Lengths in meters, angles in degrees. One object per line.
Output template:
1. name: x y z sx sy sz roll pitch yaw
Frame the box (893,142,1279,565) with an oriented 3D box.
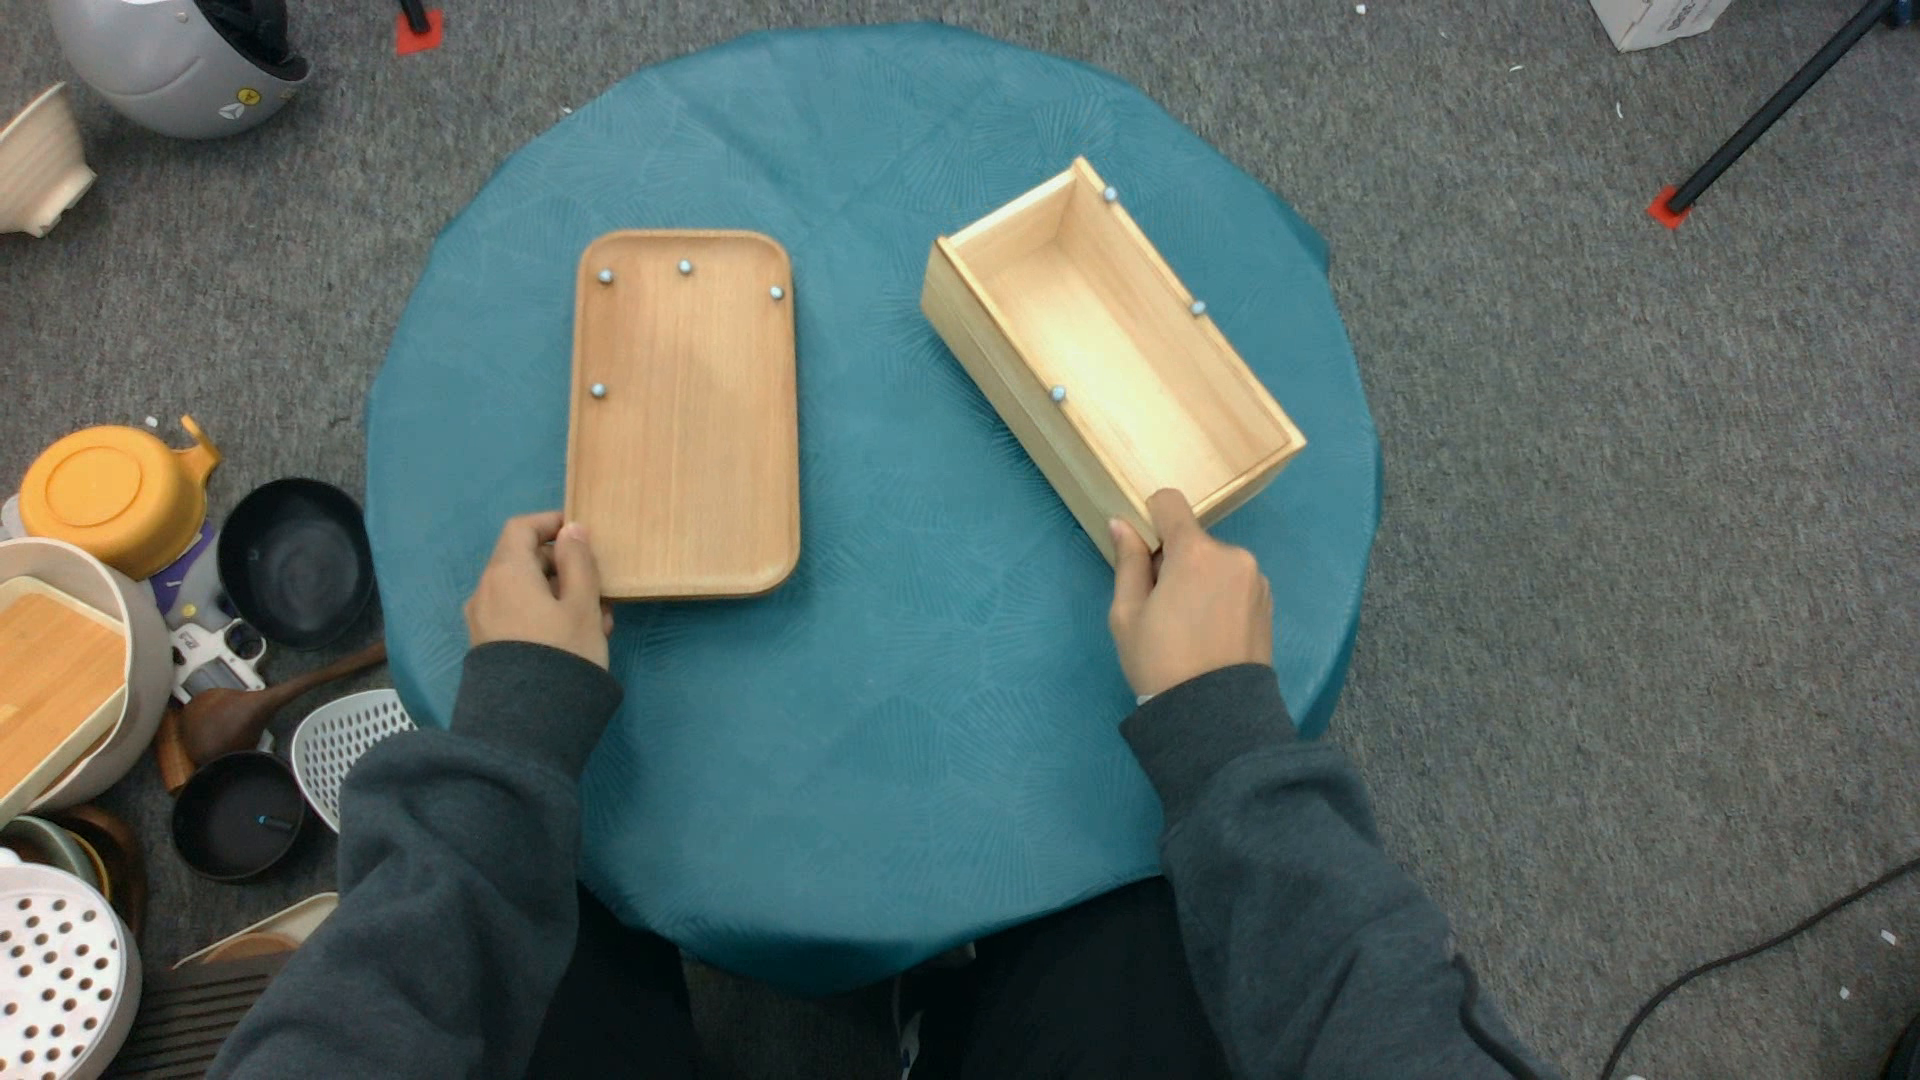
1. box: 0.067 -0.106 0.792 0.108 0.080 0.211 -33 80 -17

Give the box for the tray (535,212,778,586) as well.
1. tray: -0.172 -0.087 0.791 0.130 0.023 0.251 -3 63 -6
